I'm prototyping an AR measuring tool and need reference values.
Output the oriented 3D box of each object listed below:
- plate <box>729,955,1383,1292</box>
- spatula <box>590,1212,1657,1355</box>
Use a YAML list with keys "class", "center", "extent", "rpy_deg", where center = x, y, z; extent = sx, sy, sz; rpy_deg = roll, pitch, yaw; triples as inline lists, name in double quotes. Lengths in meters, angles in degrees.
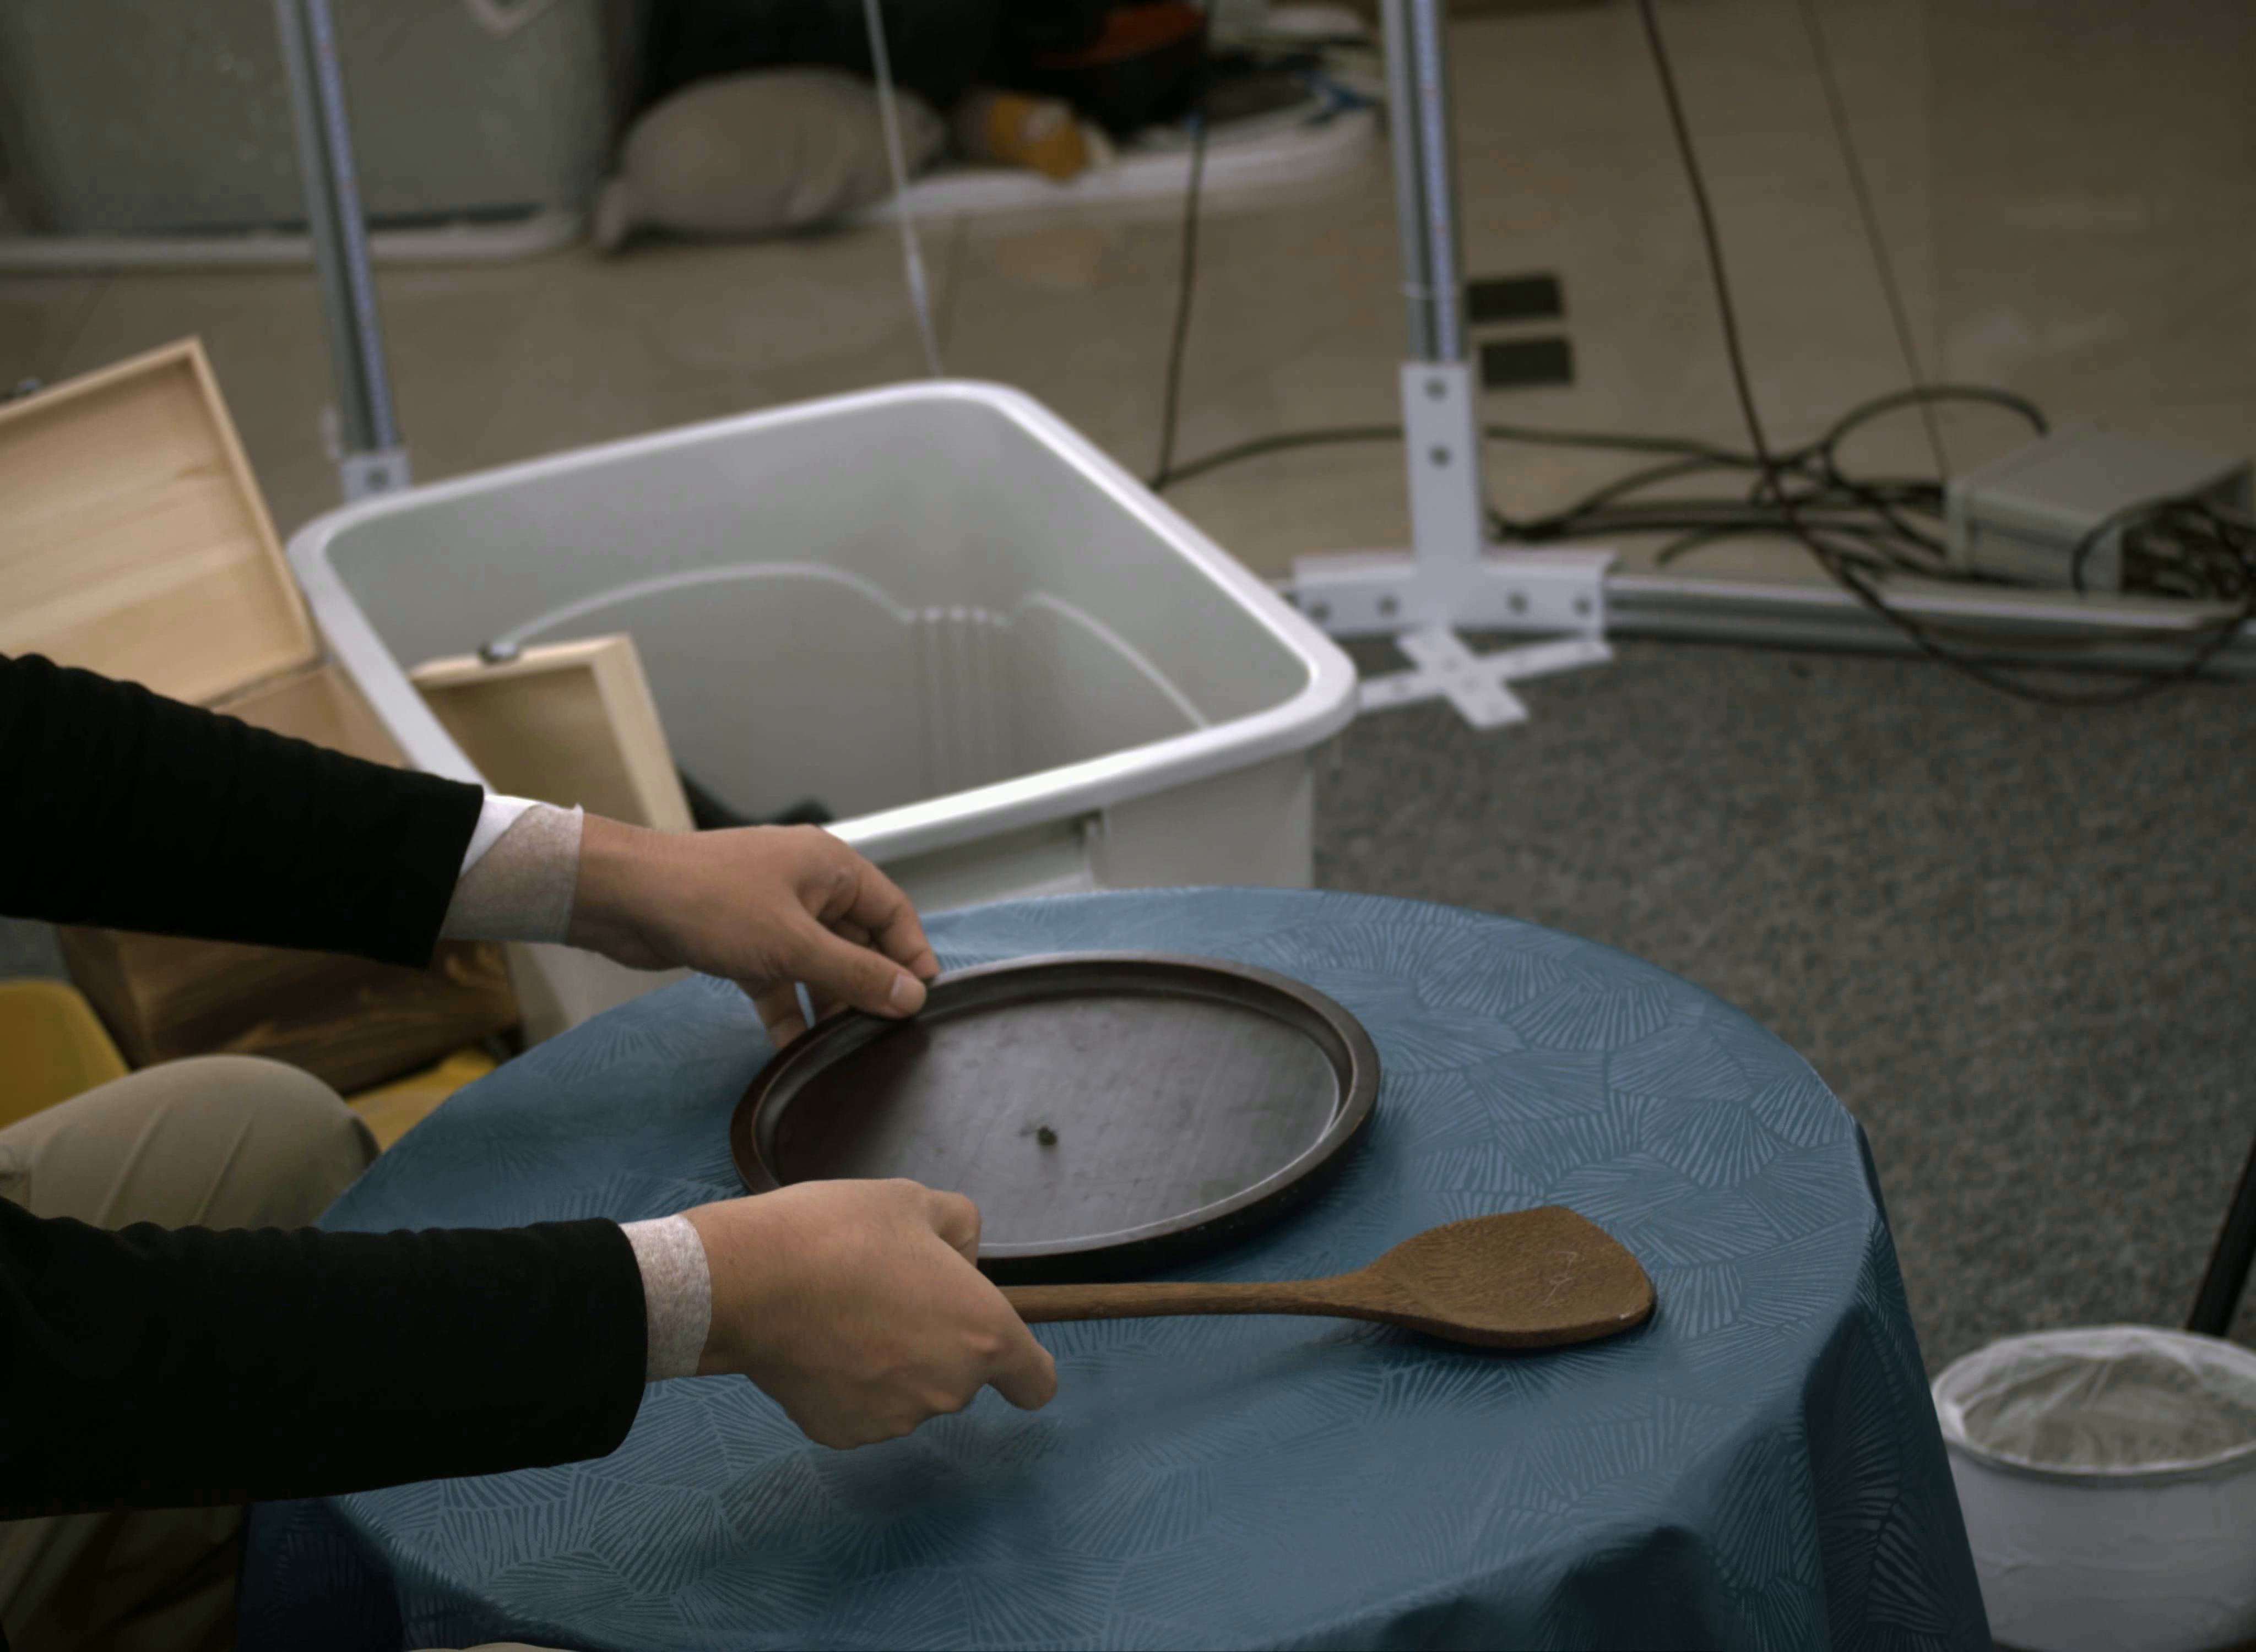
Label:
- class: "plate"
  center: [-0.027, 0.112, 2.183]
  extent: [0.254, 0.029, 0.251]
  rpy_deg: [-5, 26, 3]
- class: "spatula"
  center: [0.000, 0.167, 1.999]
  extent: [0.385, 0.016, 0.095]
  rpy_deg: [-1, 22, -18]
